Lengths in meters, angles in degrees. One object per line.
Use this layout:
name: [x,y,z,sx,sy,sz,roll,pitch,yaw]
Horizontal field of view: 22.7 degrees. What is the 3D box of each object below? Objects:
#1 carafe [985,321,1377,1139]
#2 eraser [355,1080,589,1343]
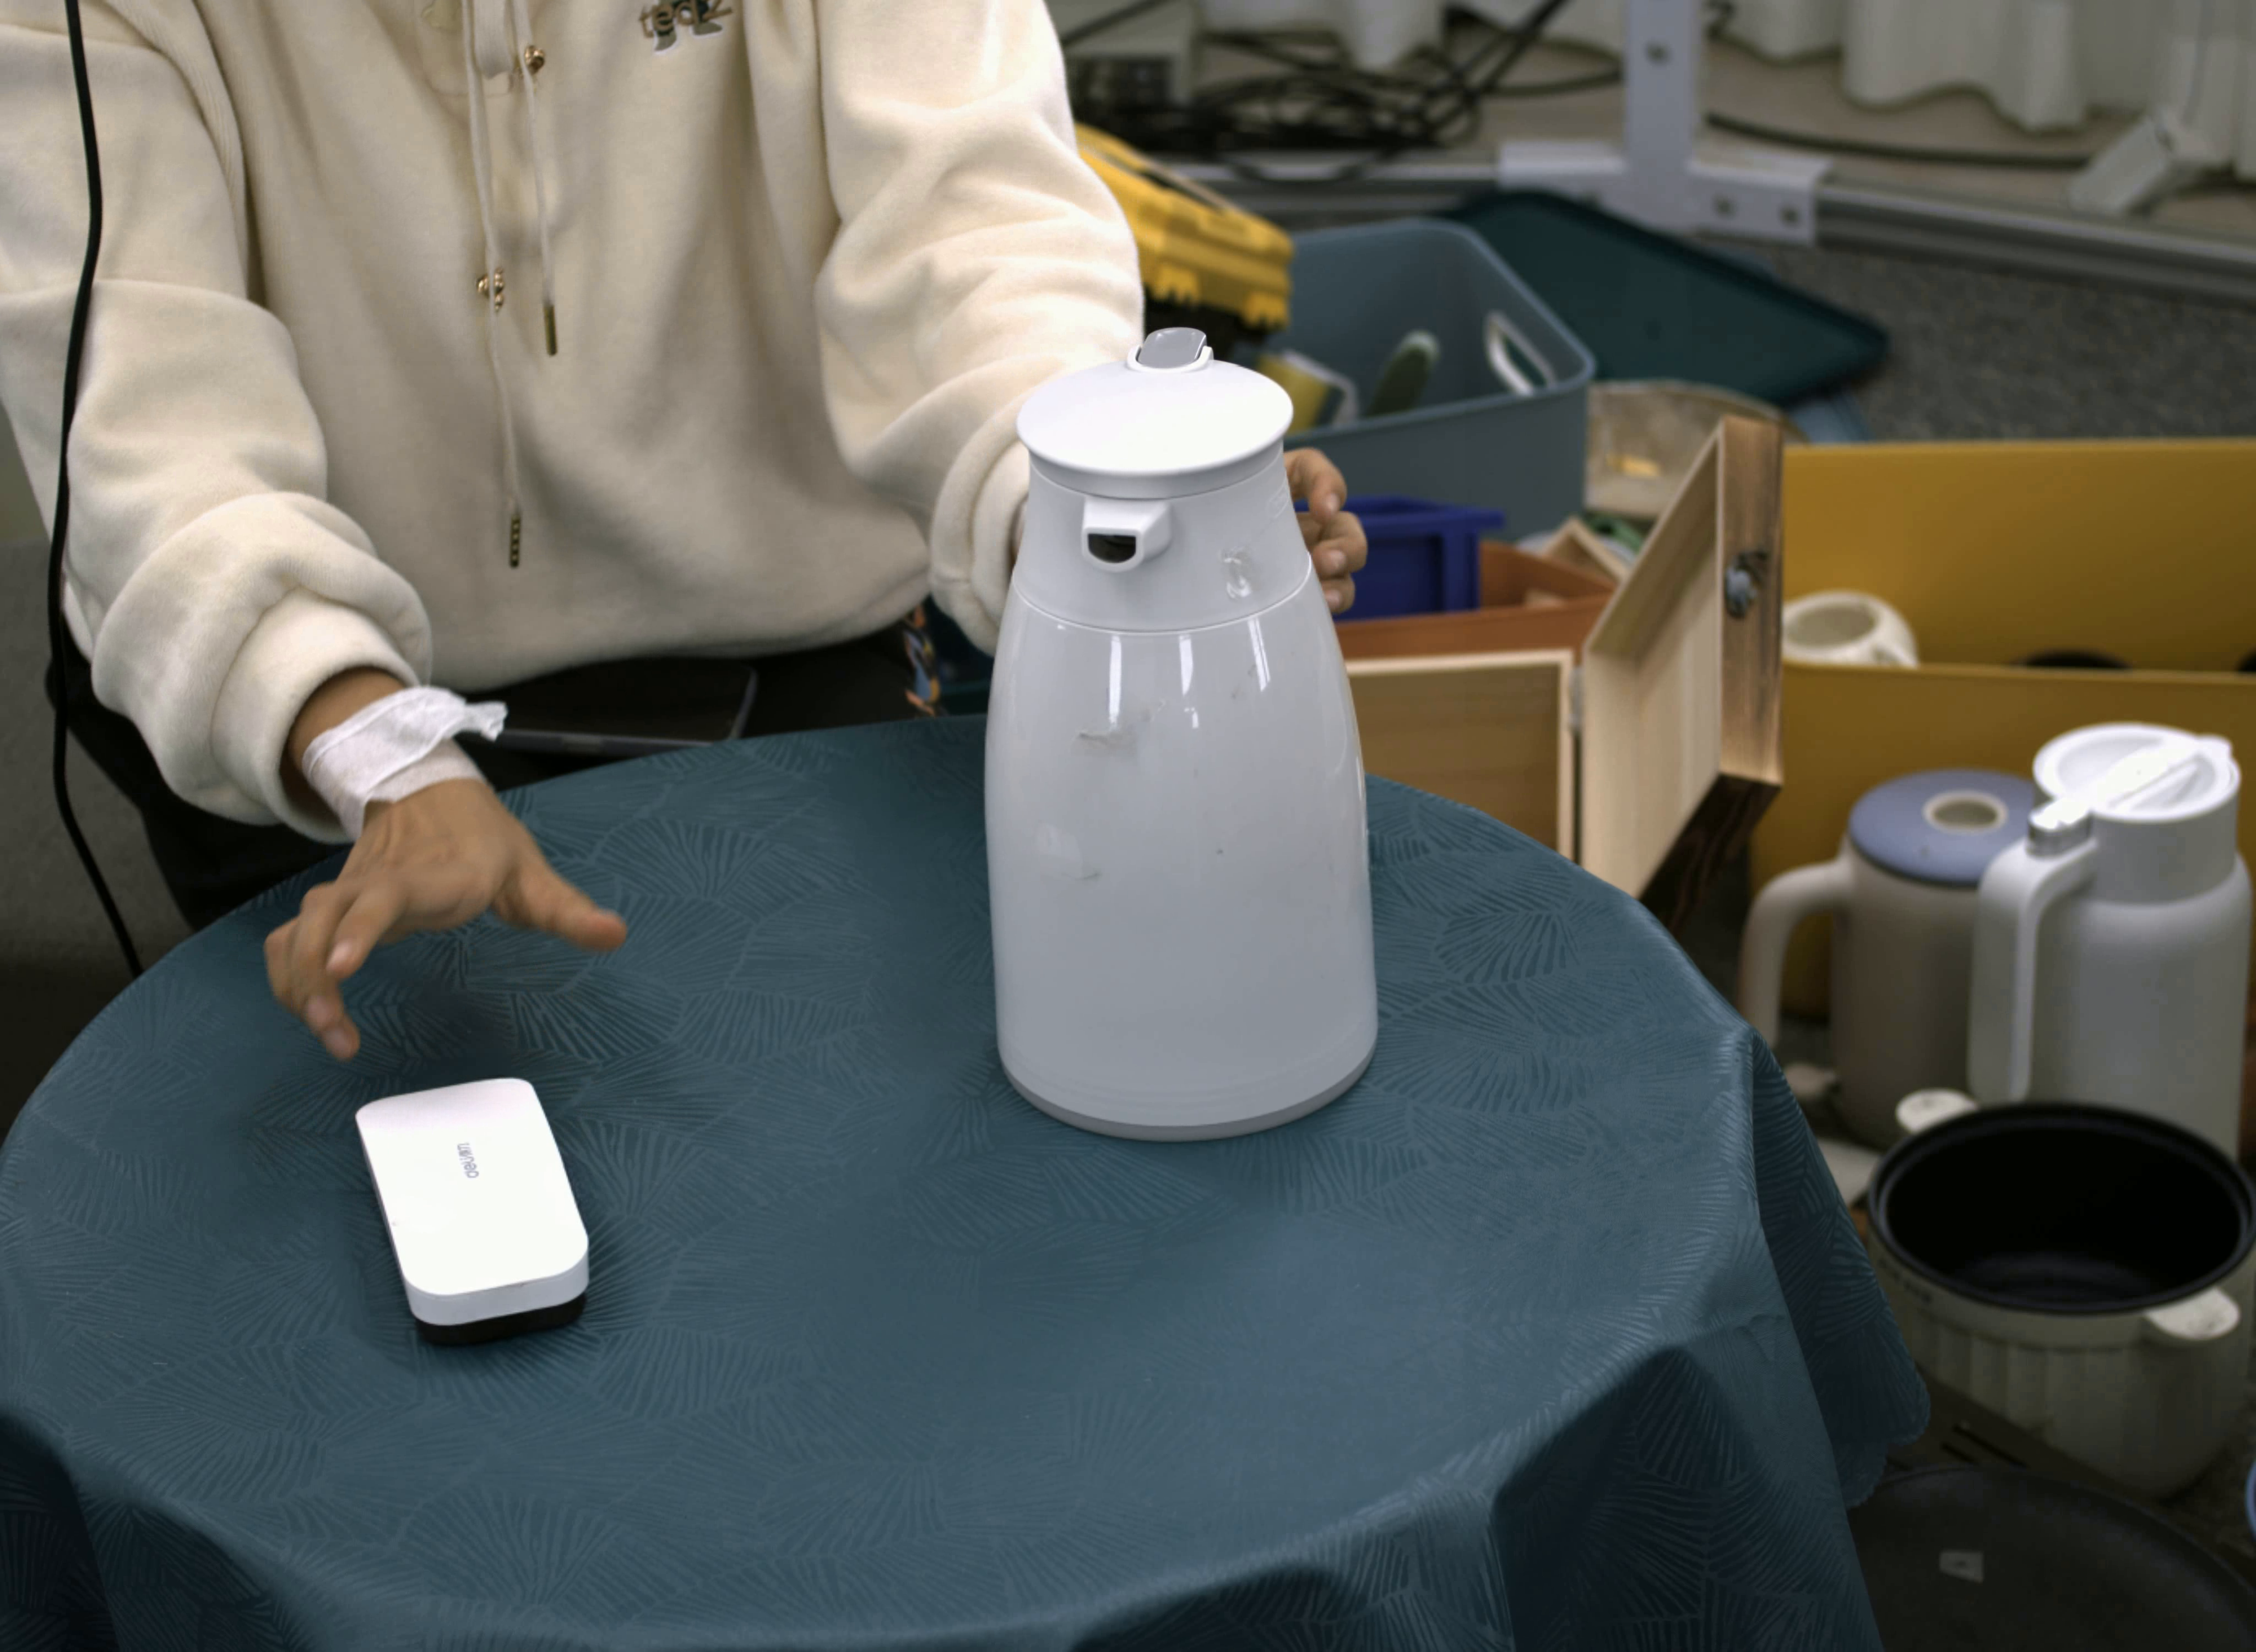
carafe: [0.018,-0.043,1.910,0.131,0.246,0.170,2,26,12]
eraser: [-0.215,0.123,1.846,0.063,0.034,0.132,-7,28,-13]
